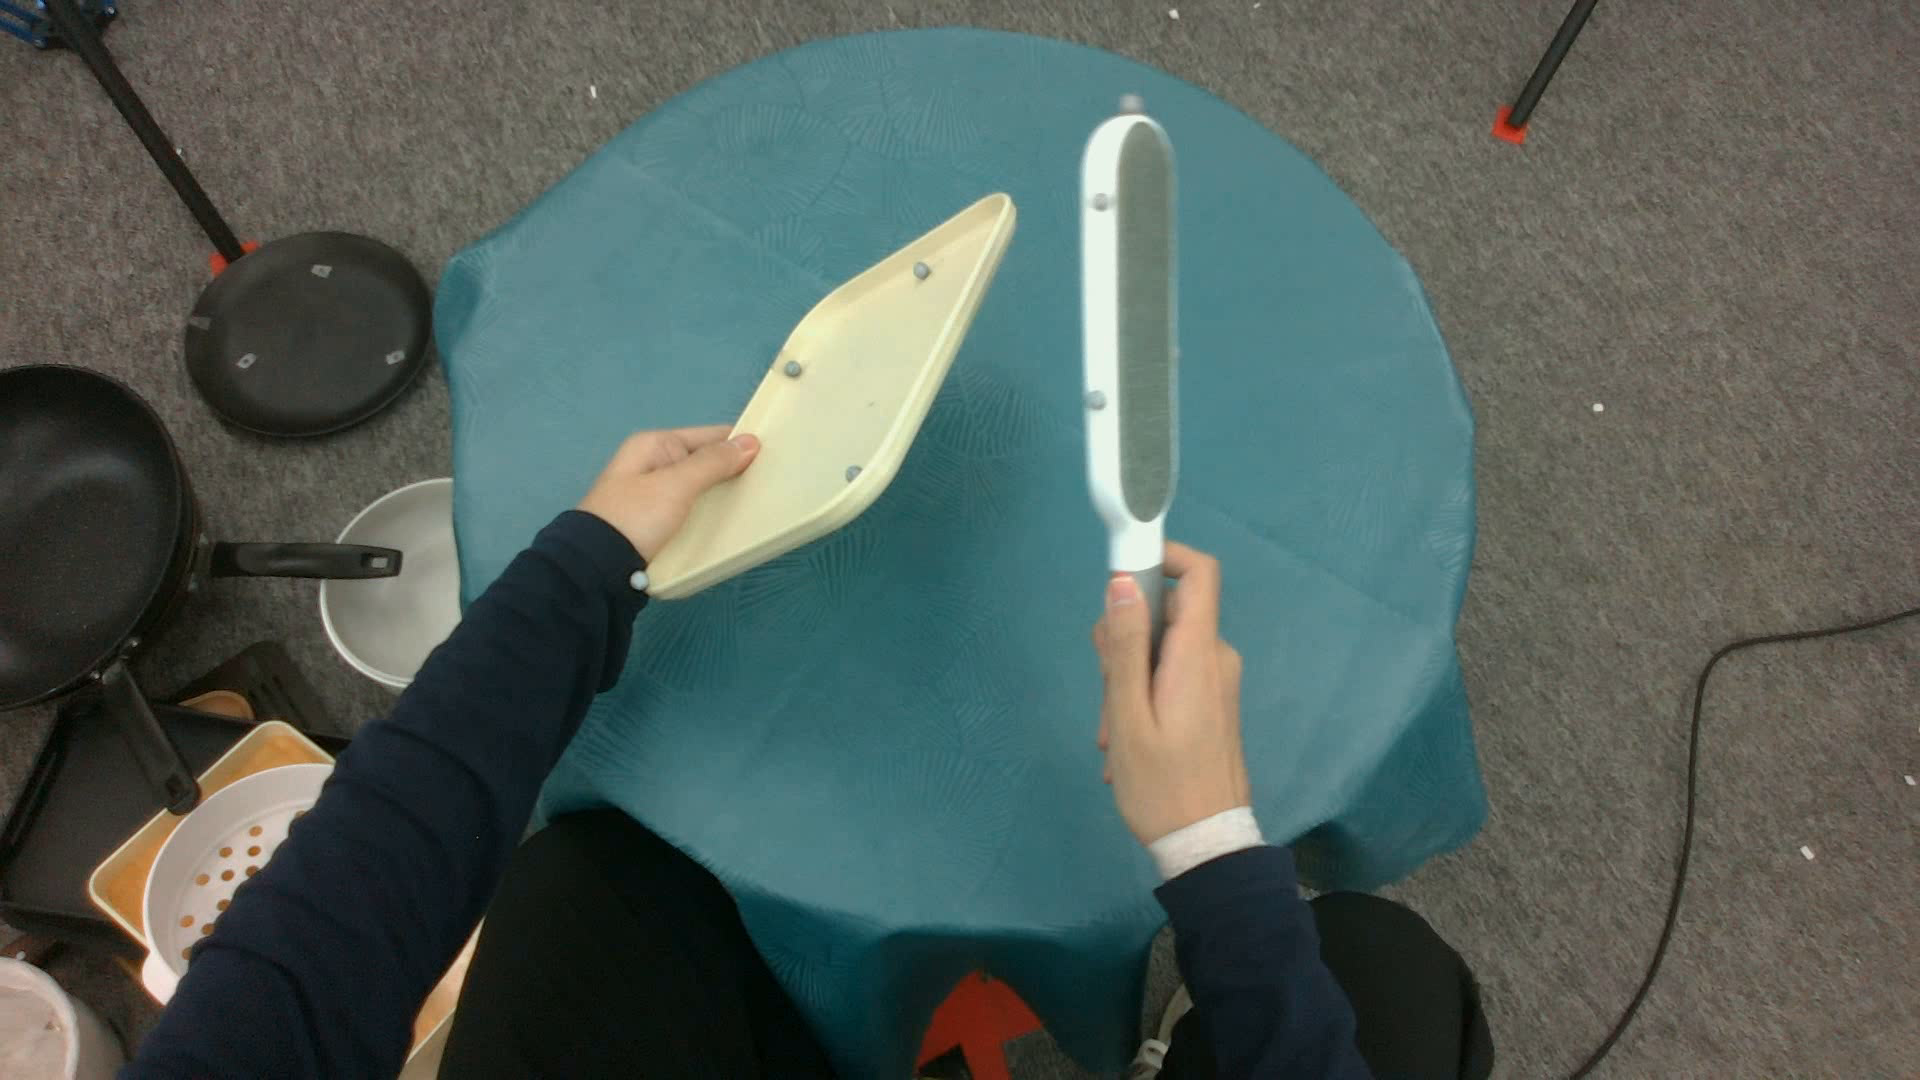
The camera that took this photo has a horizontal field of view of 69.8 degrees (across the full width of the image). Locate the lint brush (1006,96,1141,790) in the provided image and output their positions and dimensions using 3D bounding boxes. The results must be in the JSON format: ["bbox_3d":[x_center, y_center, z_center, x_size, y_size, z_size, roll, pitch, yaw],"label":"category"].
[{"bbox_3d":[0.053,-0.036,0.604,0.021,0.060,0.308,-1,103,31],"label":"lint brush"}]

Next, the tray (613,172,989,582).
[{"bbox_3d":[-0.072,-0.081,0.668,0.017,0.170,0.241,46,44,-25],"label":"tray"}]
